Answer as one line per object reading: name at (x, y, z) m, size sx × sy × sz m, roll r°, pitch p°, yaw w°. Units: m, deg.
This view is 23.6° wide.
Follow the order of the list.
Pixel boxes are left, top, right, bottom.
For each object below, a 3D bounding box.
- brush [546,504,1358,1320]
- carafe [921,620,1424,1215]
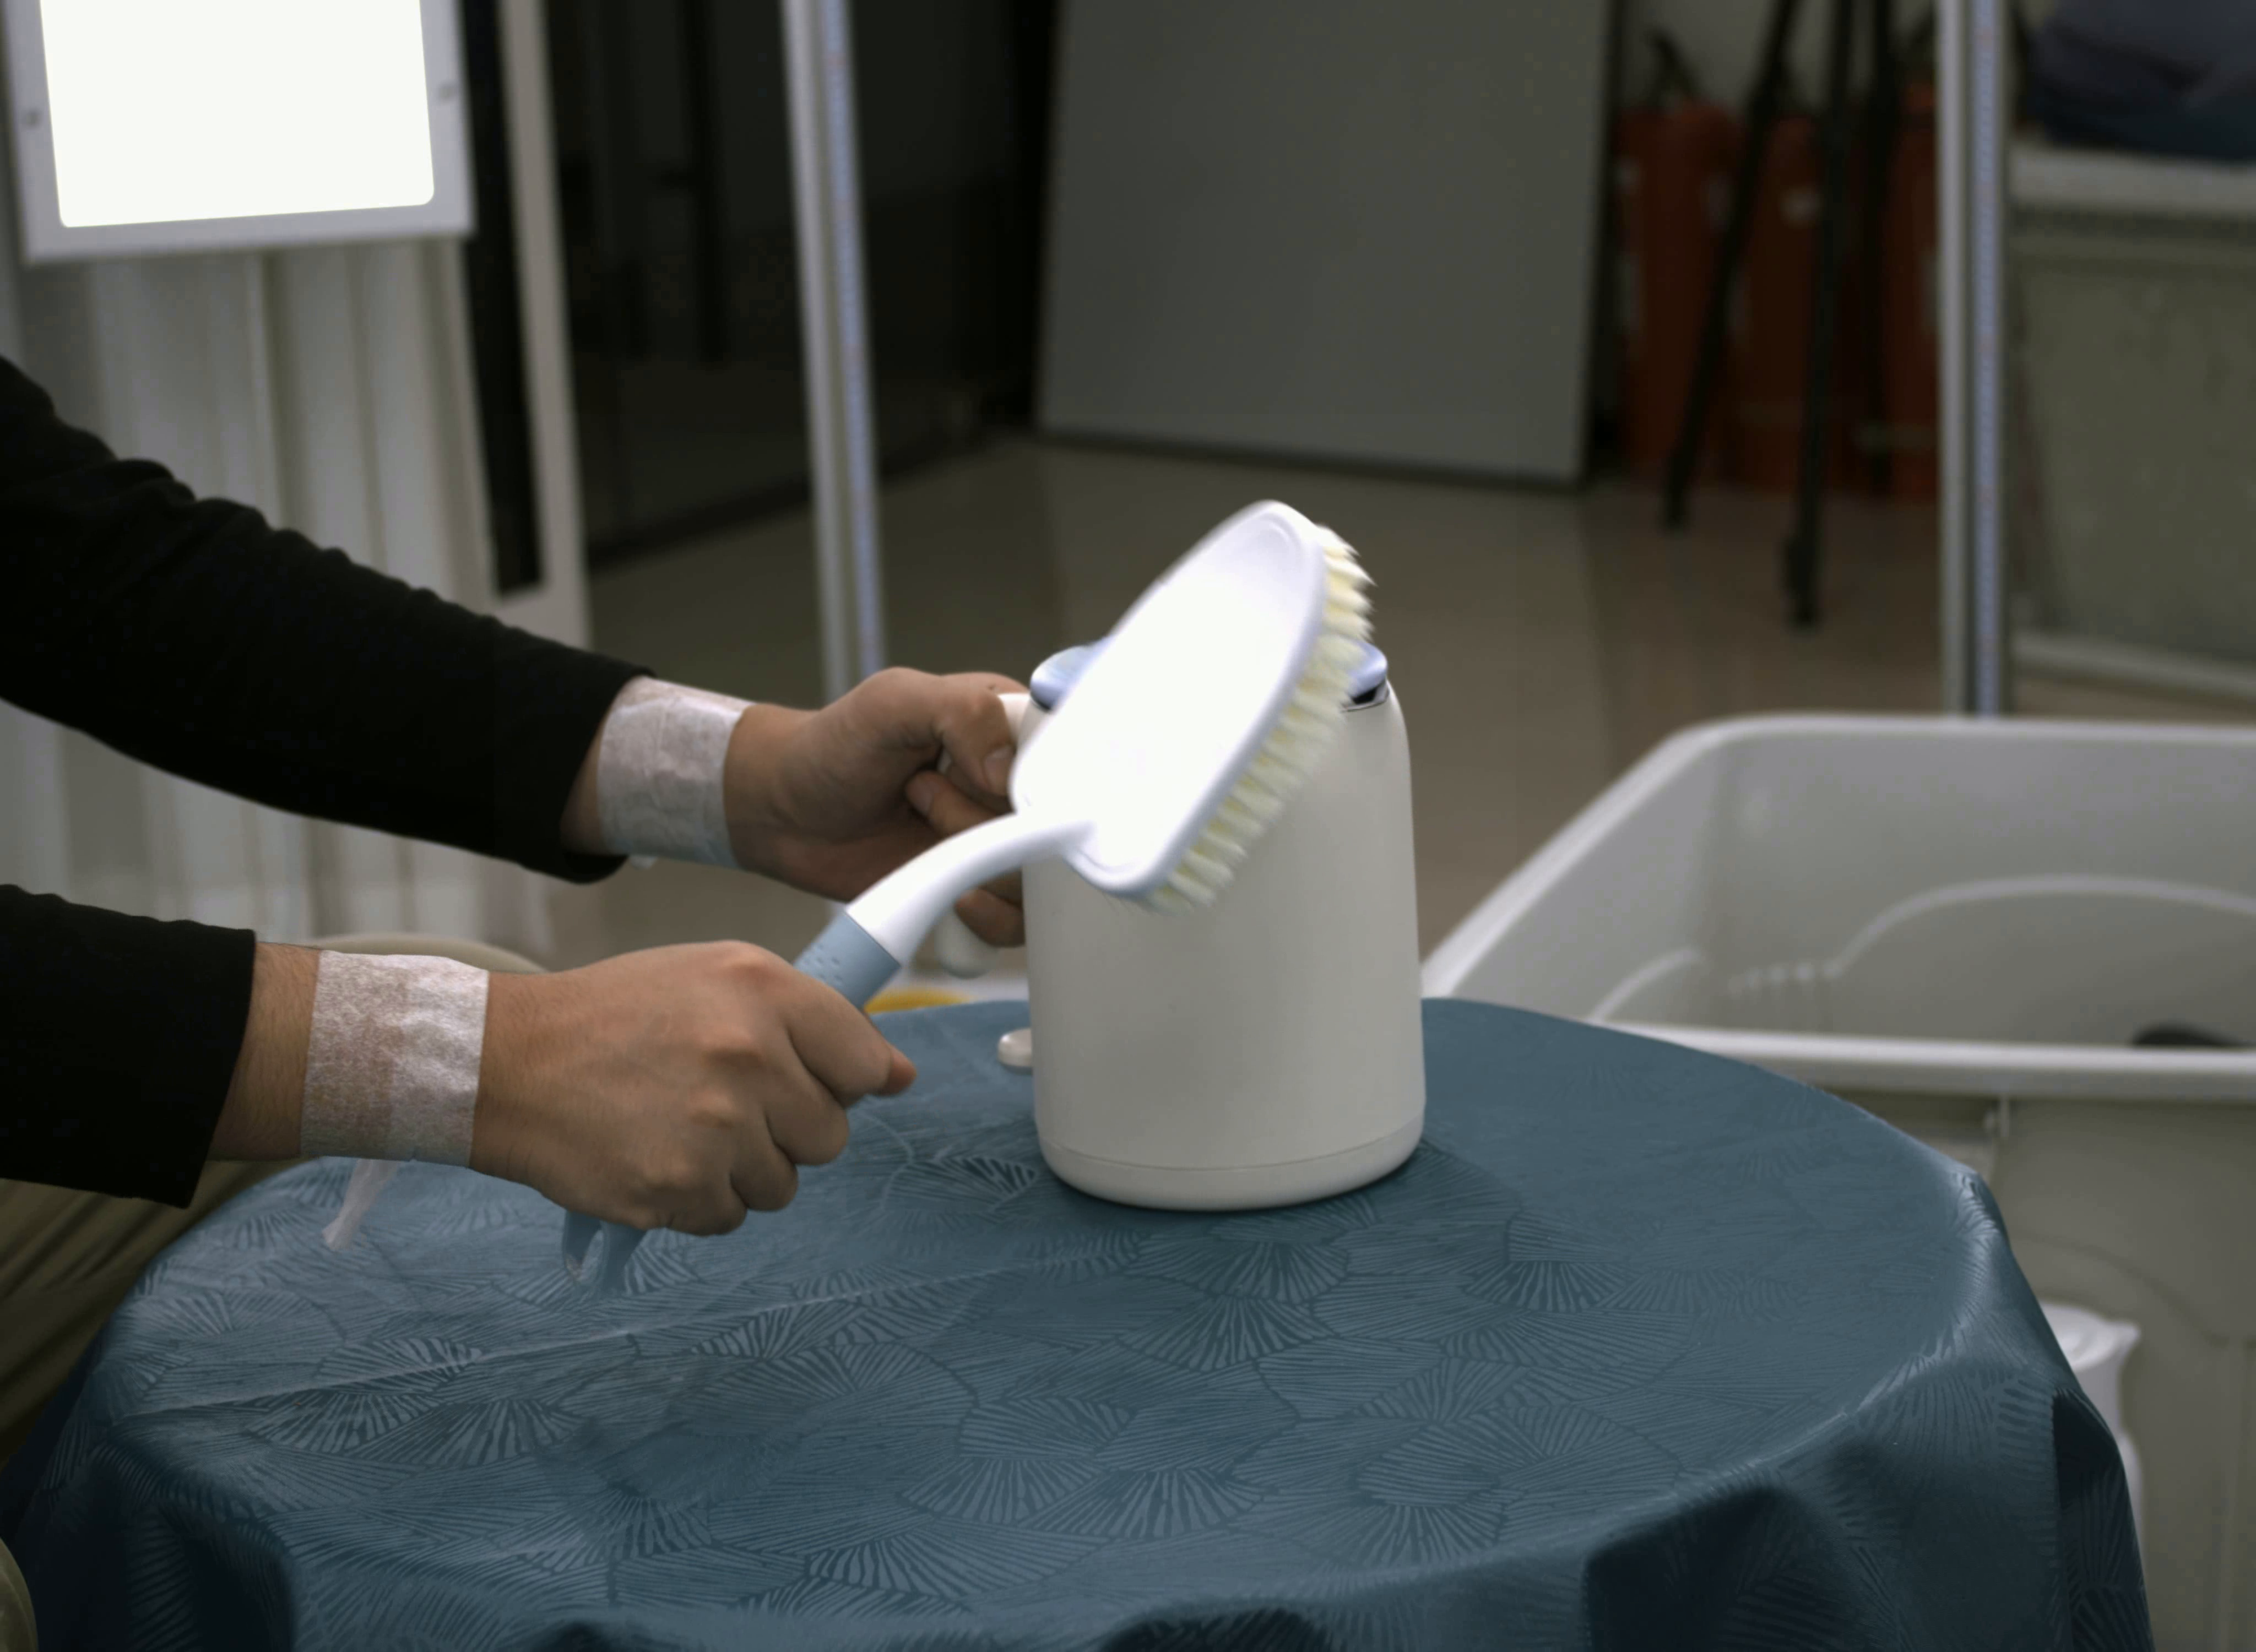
brush at (-0.048, 0.035, 1.627) m, size 0.325 × 0.084 × 0.083 m, roll -47°, pitch 15°, yaw -4°
carafe at (0.010, 0.026, 1.792) m, size 0.192 × 0.184 × 0.130 m, roll 4°, pitch 15°, yaw 35°
